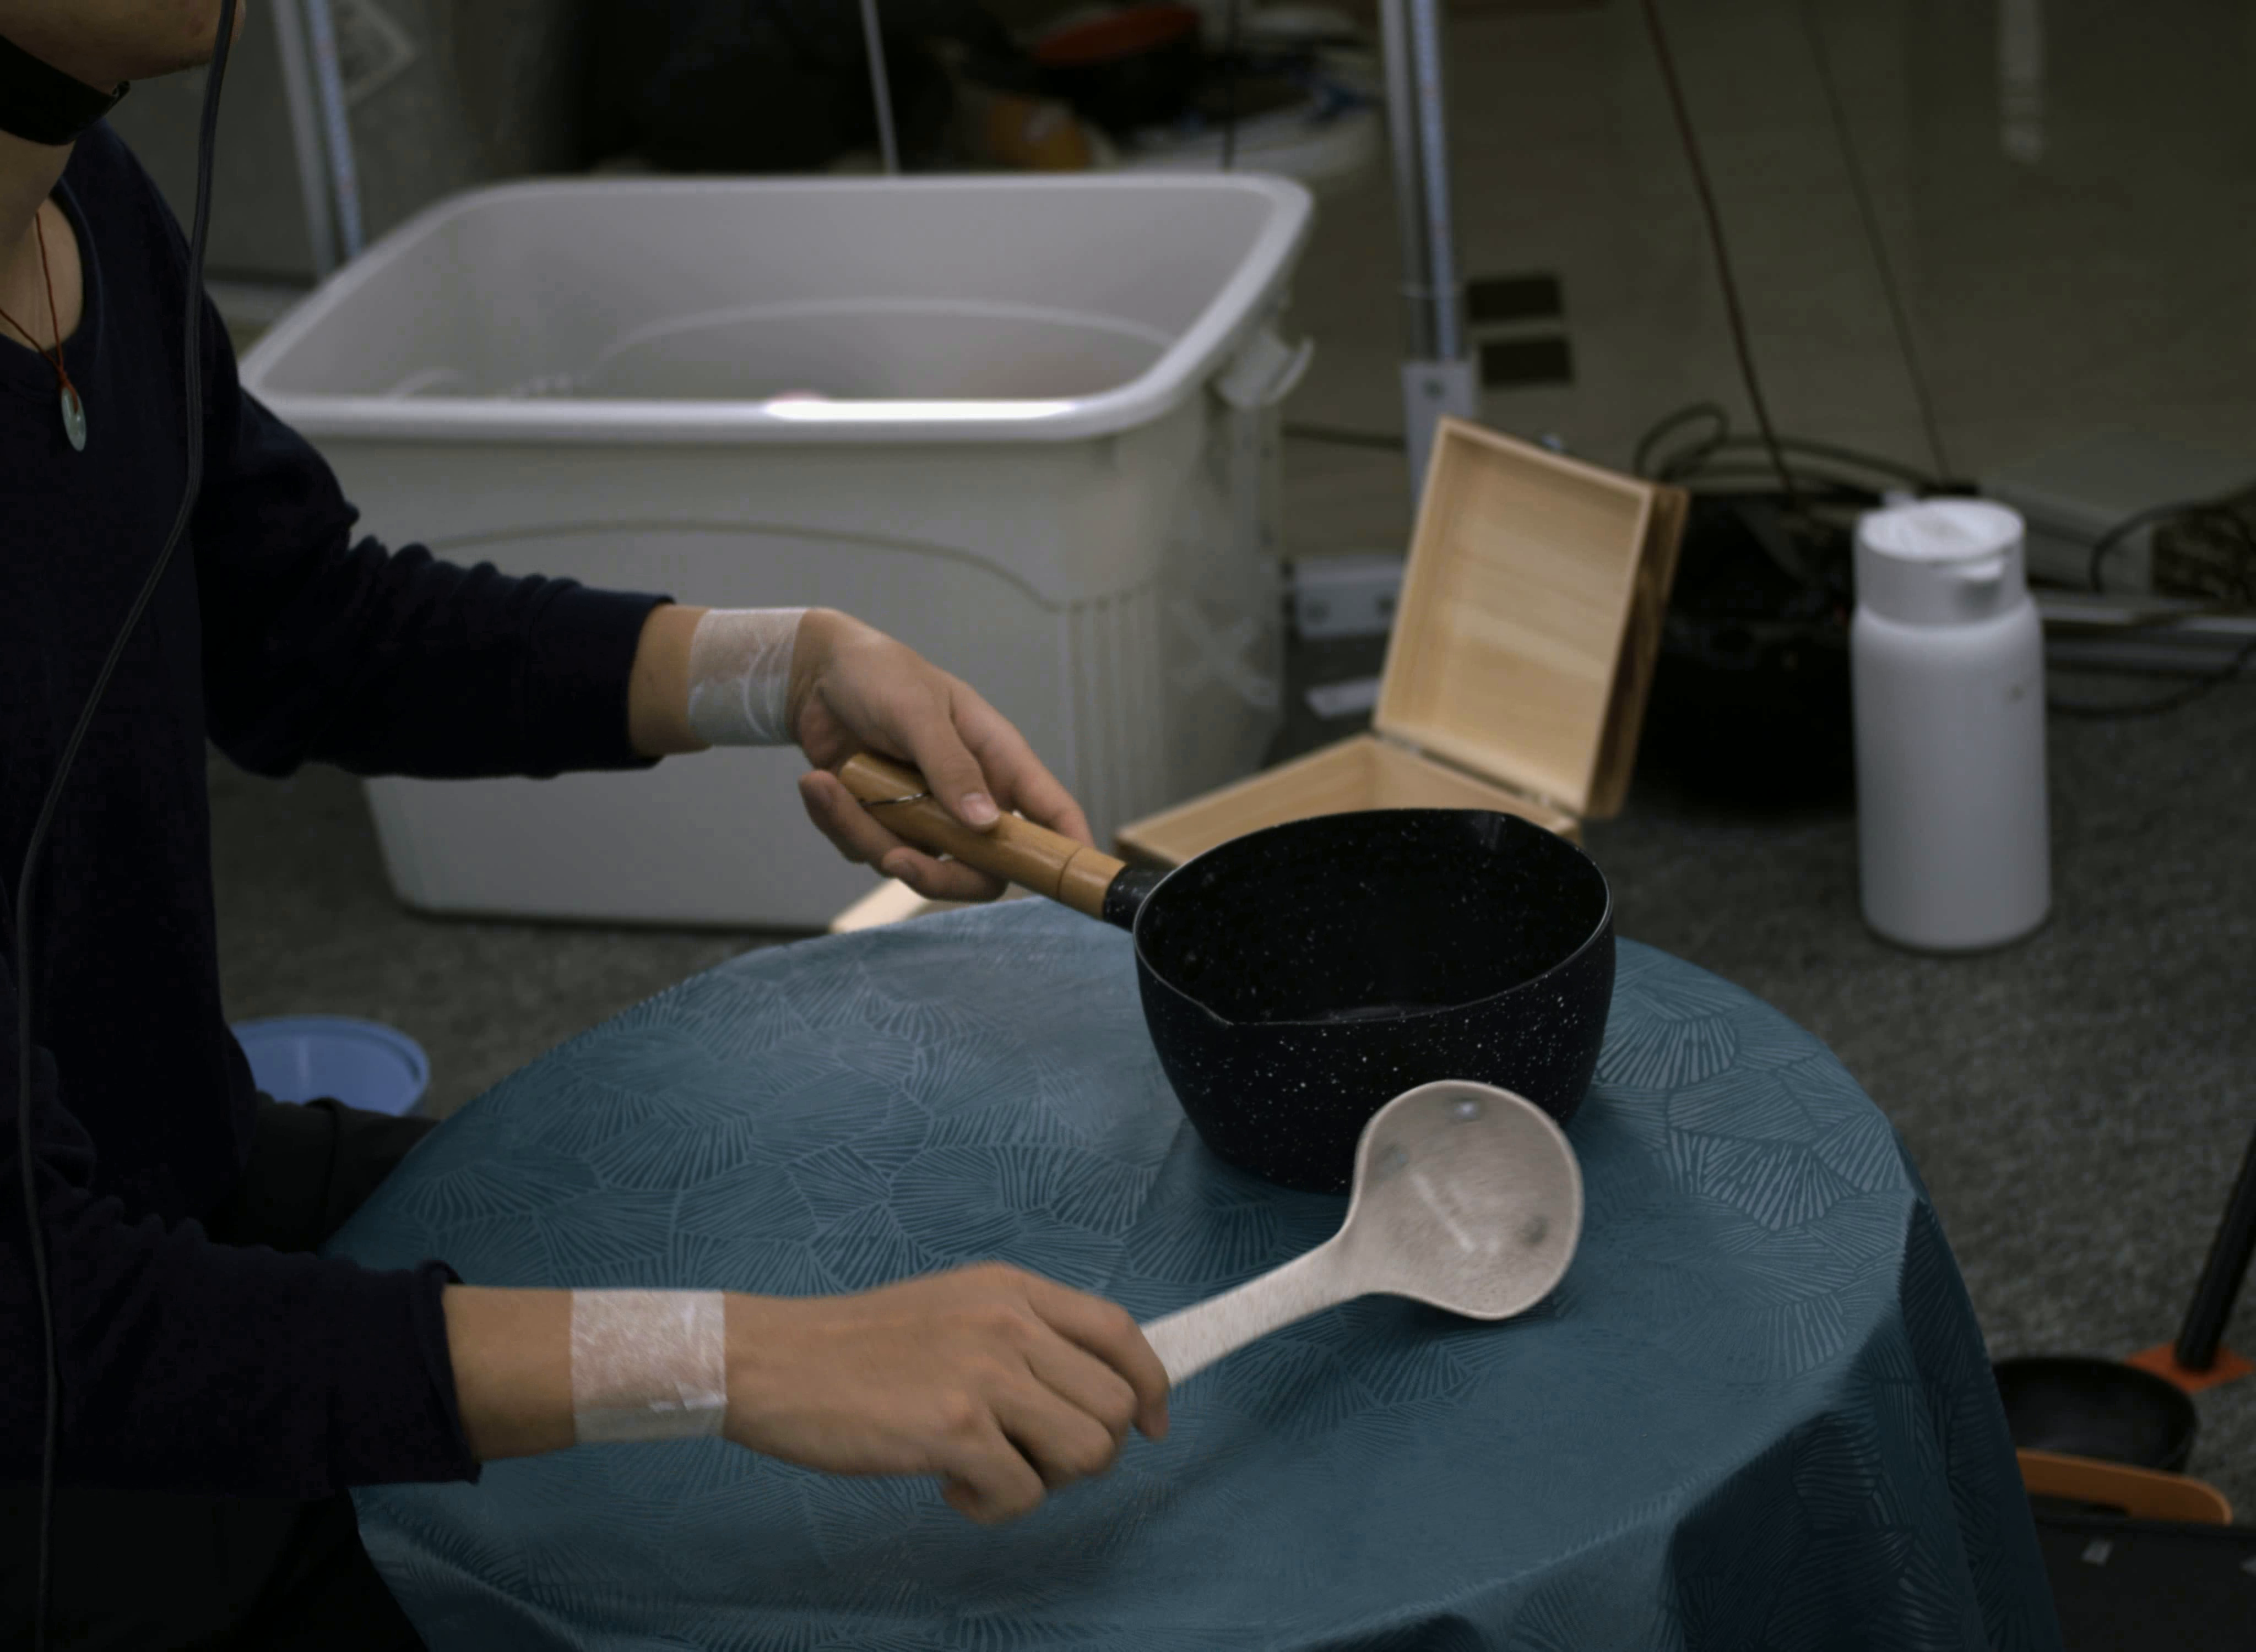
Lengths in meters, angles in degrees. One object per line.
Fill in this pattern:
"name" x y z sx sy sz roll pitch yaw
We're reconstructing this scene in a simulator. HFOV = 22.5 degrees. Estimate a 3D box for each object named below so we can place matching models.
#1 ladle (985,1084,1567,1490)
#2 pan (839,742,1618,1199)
"ladle" 0.052 0.162 1.958 0.273 0.070 0.089 -23 73 -51
"pan" 0.030 0.047 2.207 0.341 0.110 0.205 12 32 31
